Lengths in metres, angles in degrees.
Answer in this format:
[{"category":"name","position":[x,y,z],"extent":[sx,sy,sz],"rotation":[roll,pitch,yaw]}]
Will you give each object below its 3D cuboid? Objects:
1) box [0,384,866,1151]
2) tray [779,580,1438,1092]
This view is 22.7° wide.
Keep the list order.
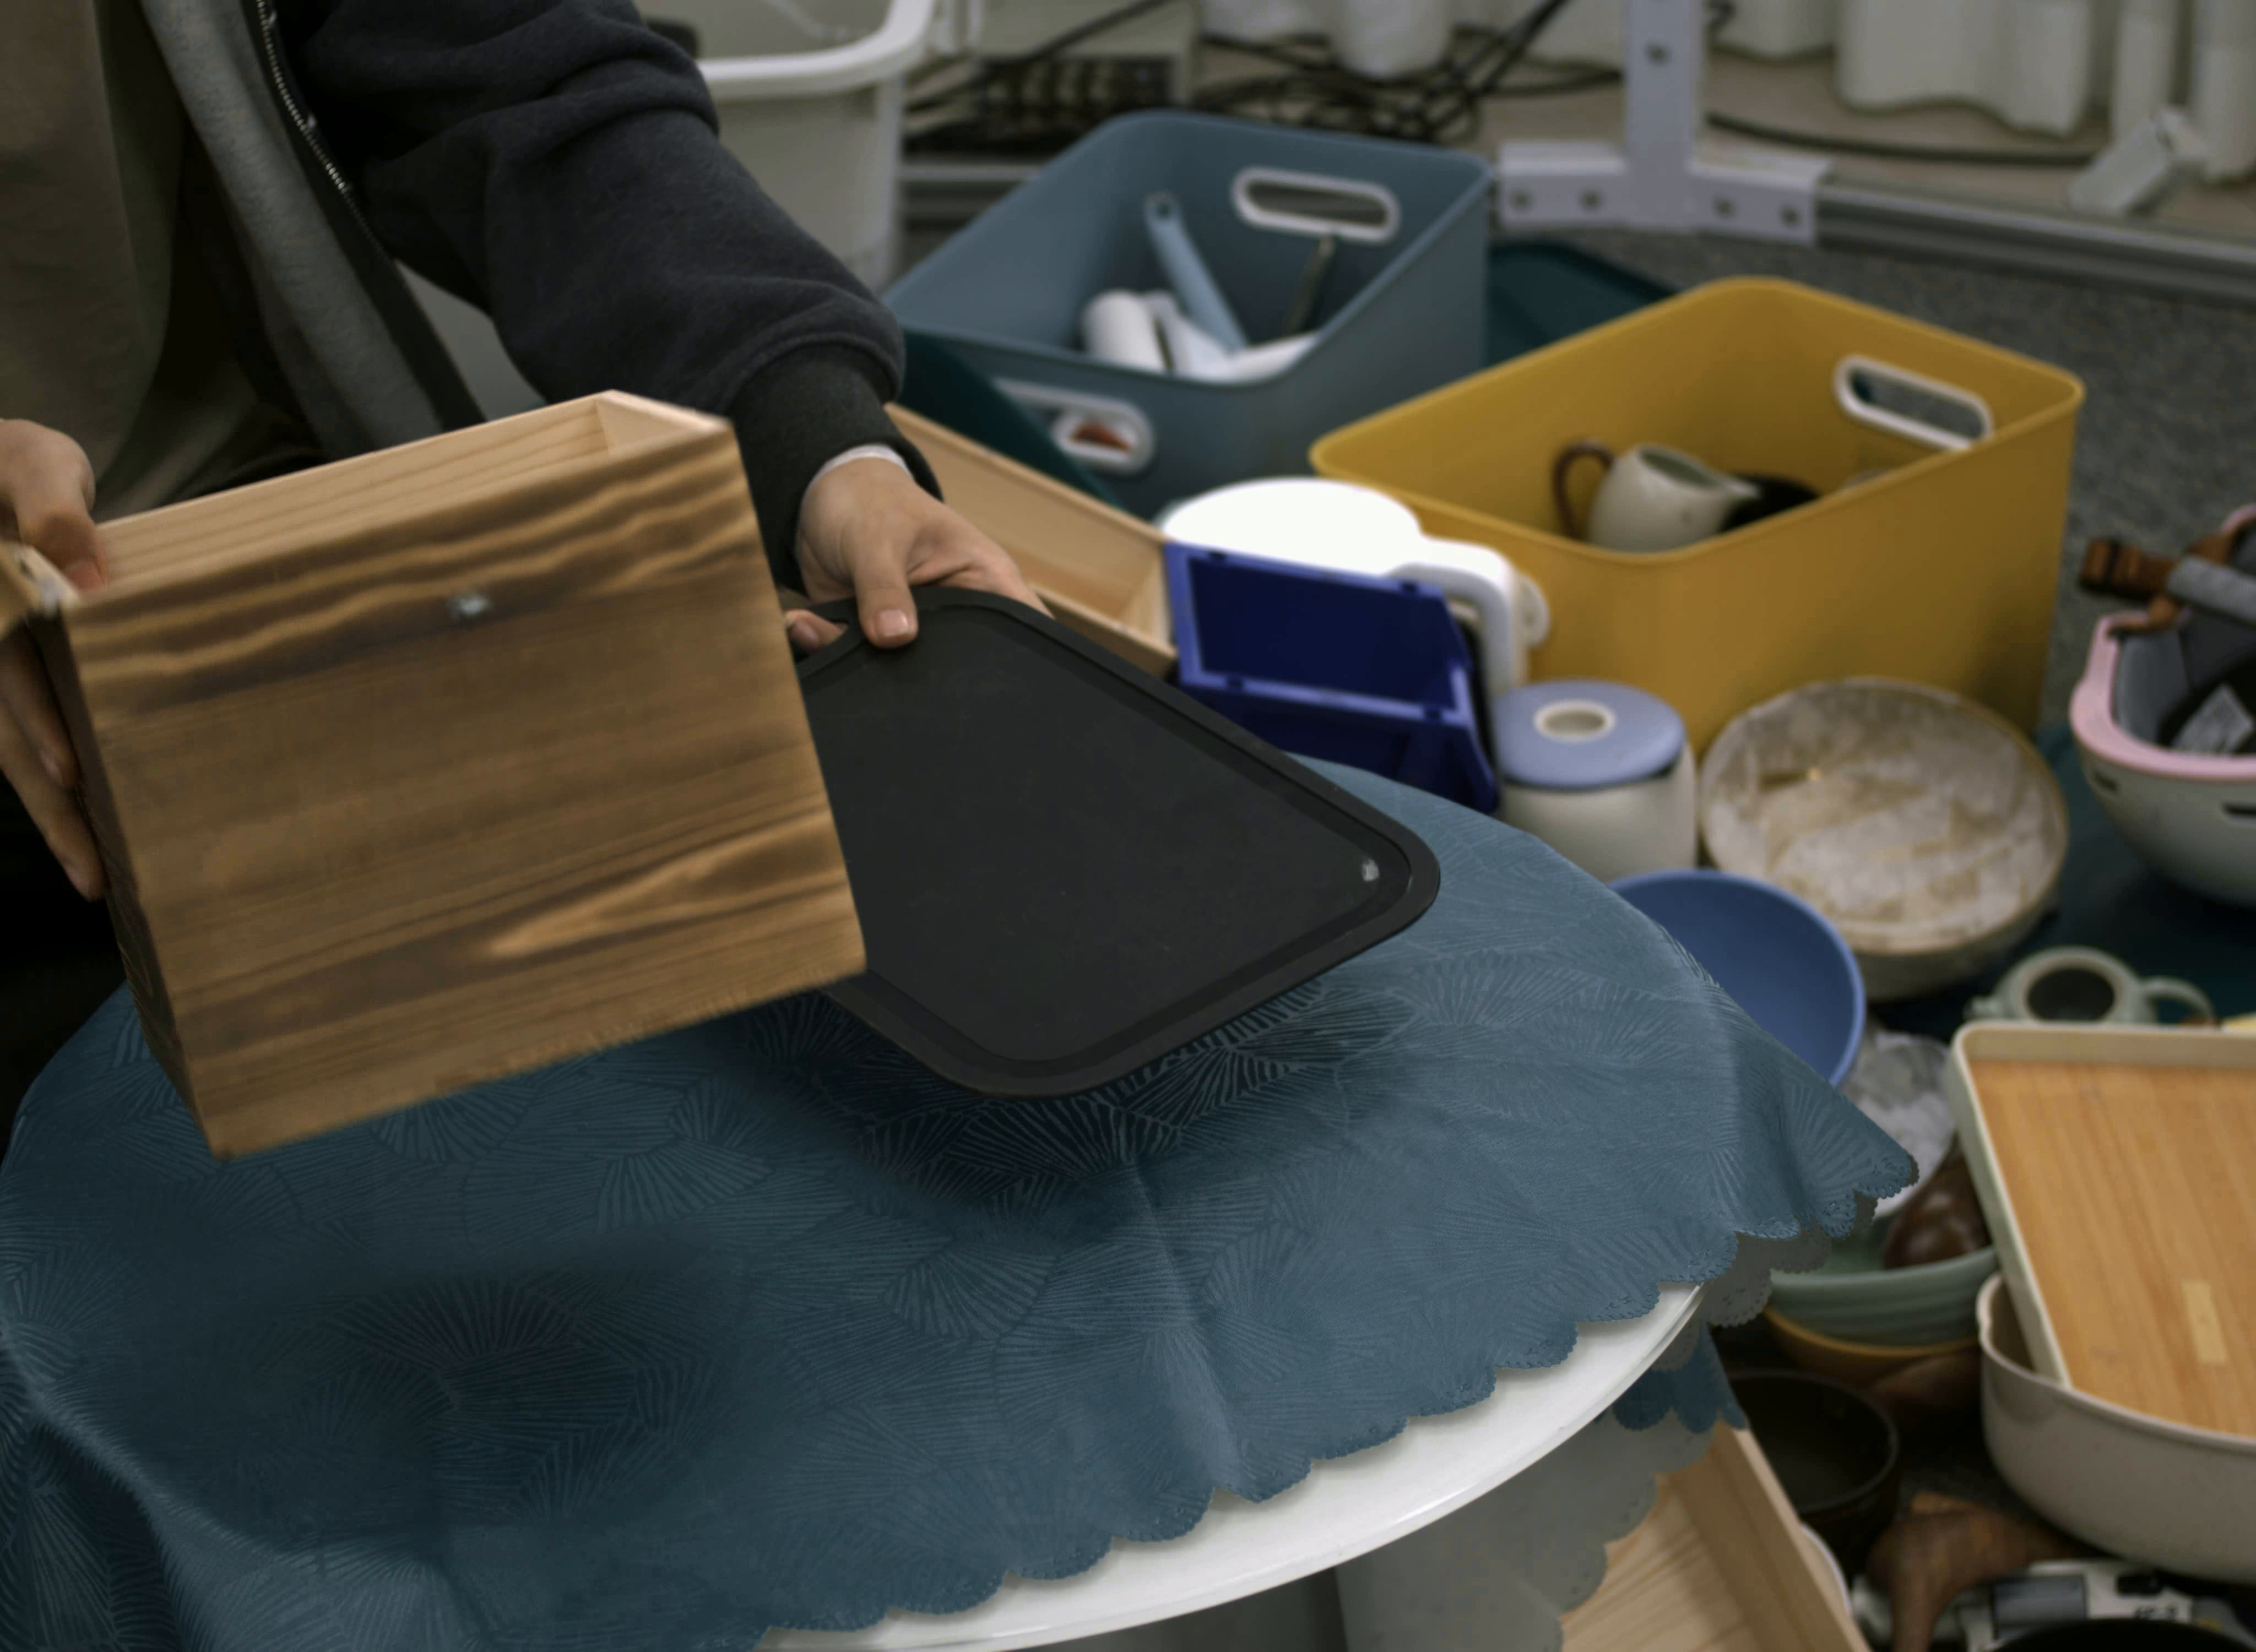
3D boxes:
[{"category":"box","position":[-0.284,-0.104,1.694],"extent":[0.323,0.375,0.208],"rotation":[-17,9,-15]},{"category":"tray","position":[-0.058,-0.006,1.976],"extent":[0.213,0.009,0.326],"rotation":[-26,39,-31]}]
